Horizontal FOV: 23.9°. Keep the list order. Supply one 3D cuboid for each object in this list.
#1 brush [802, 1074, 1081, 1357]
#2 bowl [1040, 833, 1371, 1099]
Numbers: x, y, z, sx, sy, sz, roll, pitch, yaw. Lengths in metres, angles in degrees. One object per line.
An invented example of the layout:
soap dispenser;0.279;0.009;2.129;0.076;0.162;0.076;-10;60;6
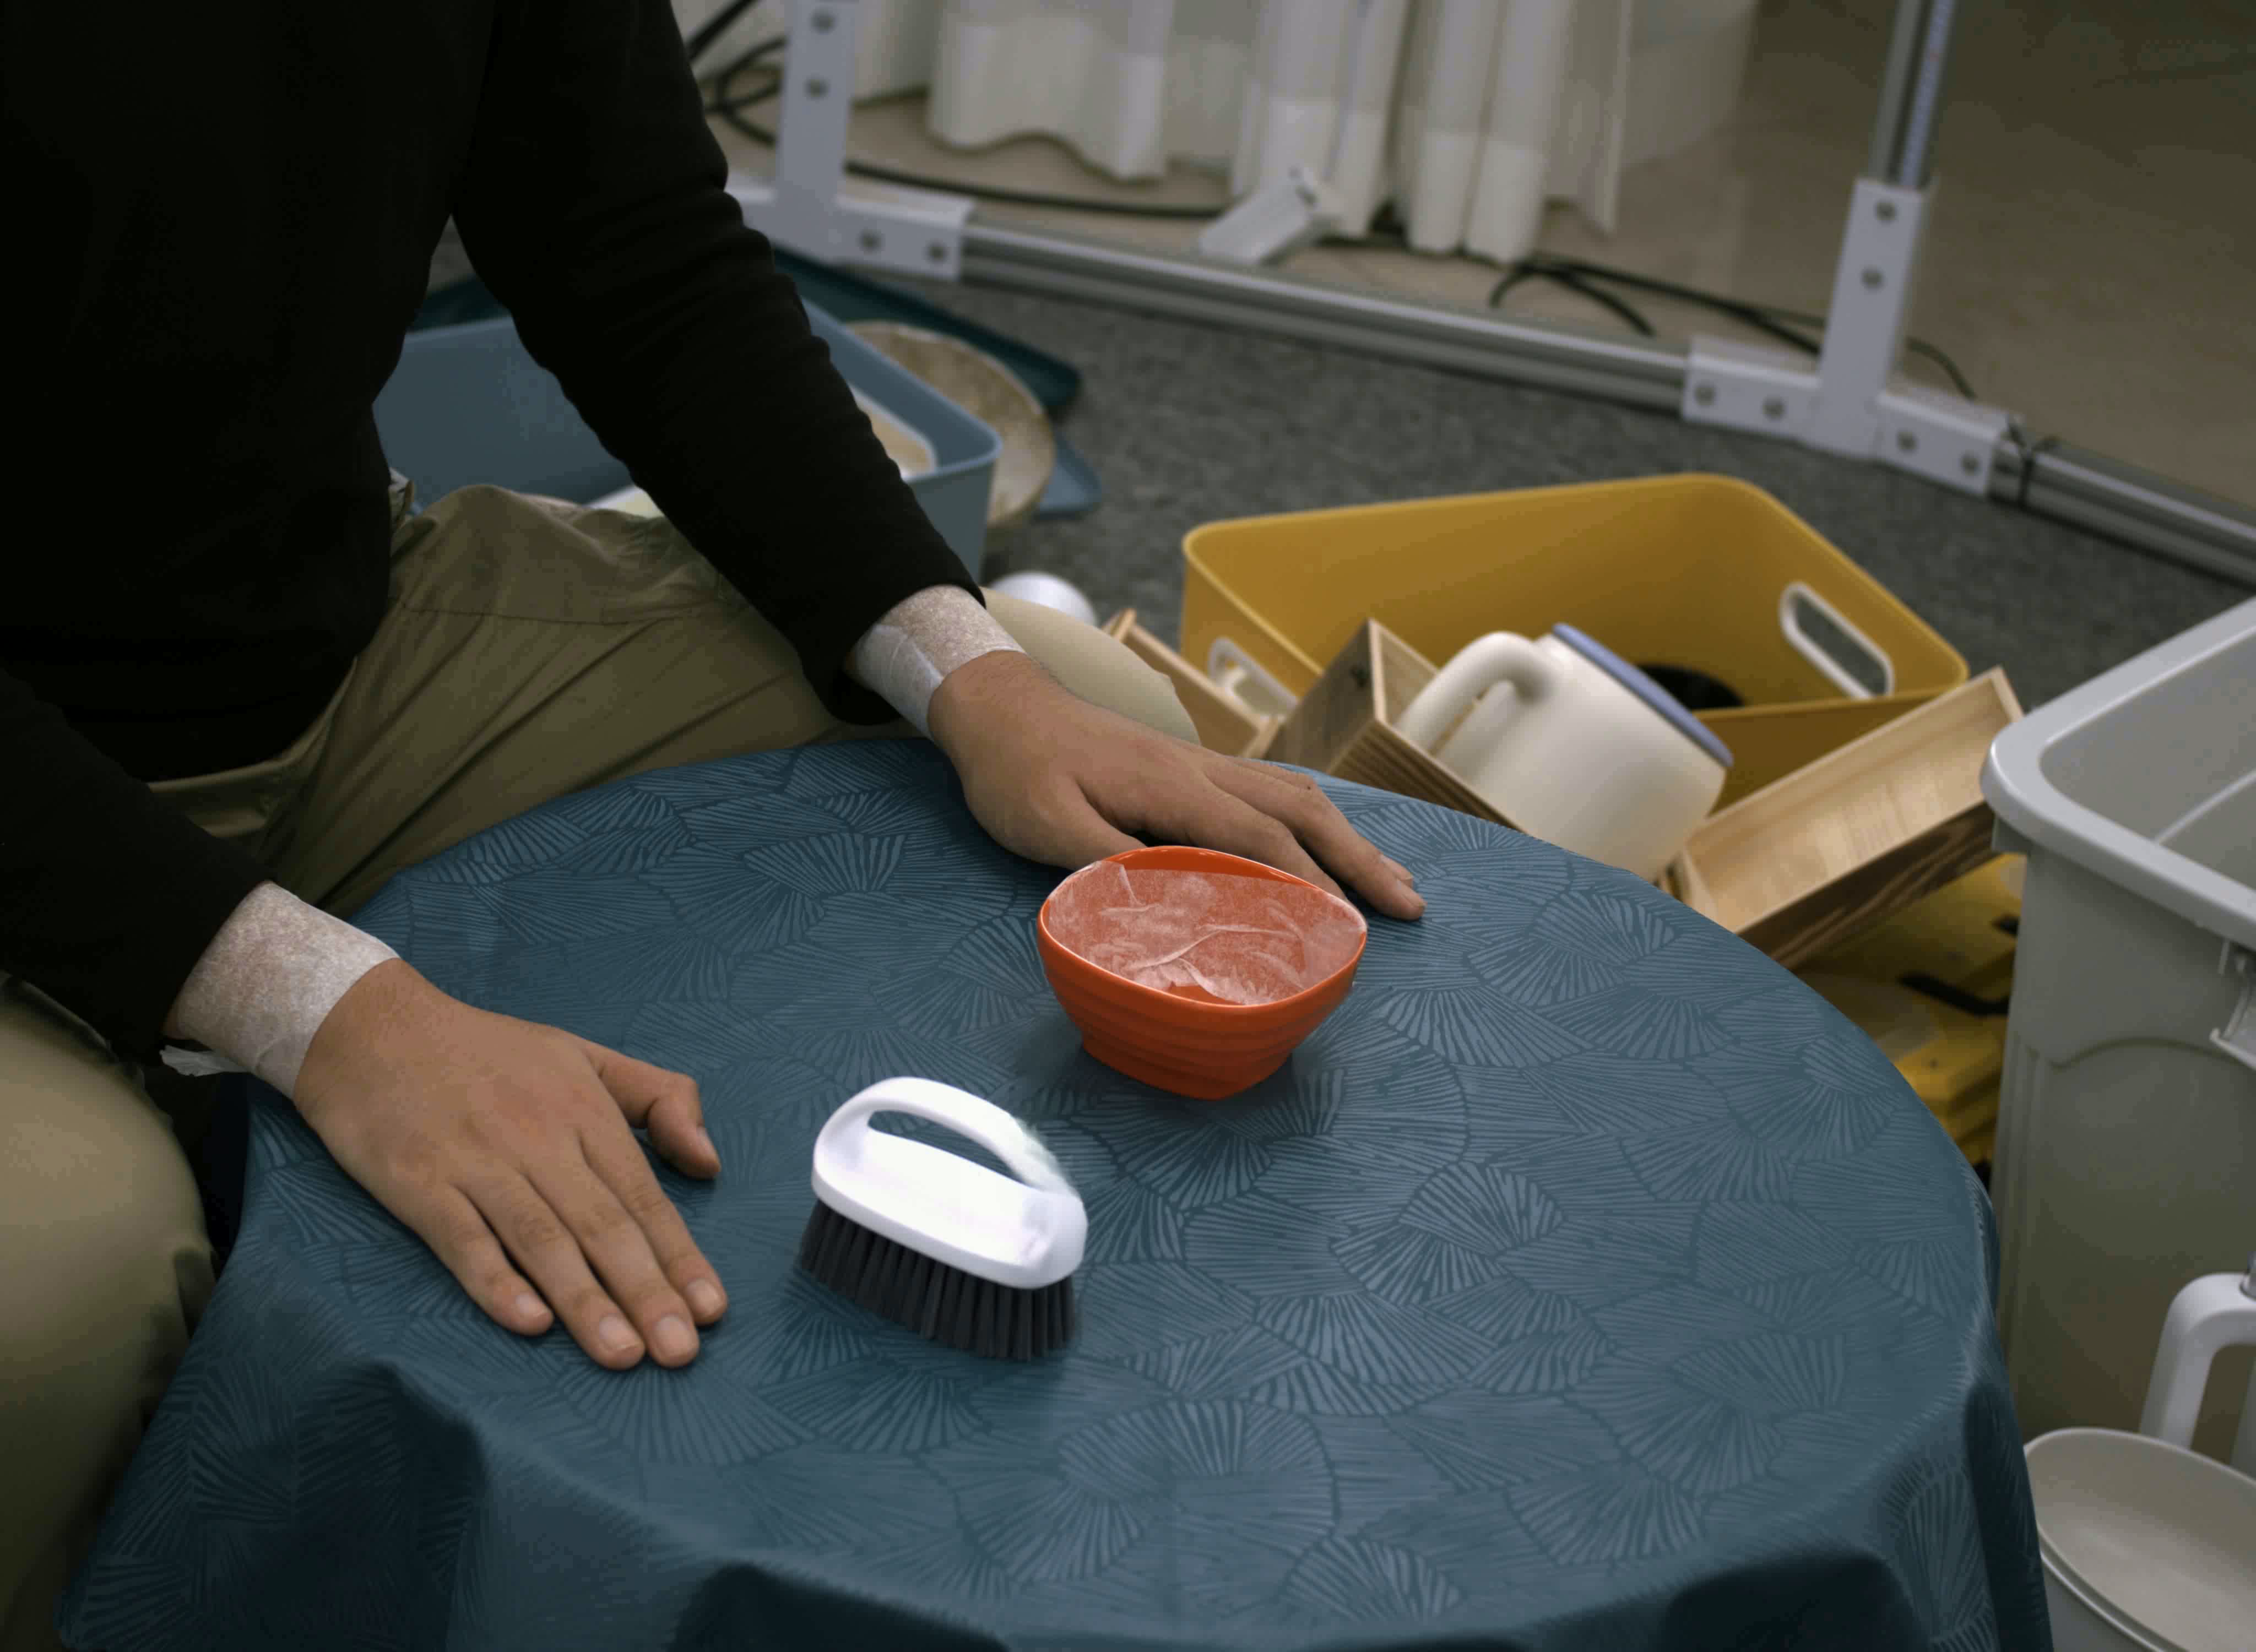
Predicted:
brush;-0.059;0.119;1.716;0.100;0.072;0.050;23;31;30
bowl;0.024;0.054;1.884;0.118;0.051;0.120;7;31;-4
